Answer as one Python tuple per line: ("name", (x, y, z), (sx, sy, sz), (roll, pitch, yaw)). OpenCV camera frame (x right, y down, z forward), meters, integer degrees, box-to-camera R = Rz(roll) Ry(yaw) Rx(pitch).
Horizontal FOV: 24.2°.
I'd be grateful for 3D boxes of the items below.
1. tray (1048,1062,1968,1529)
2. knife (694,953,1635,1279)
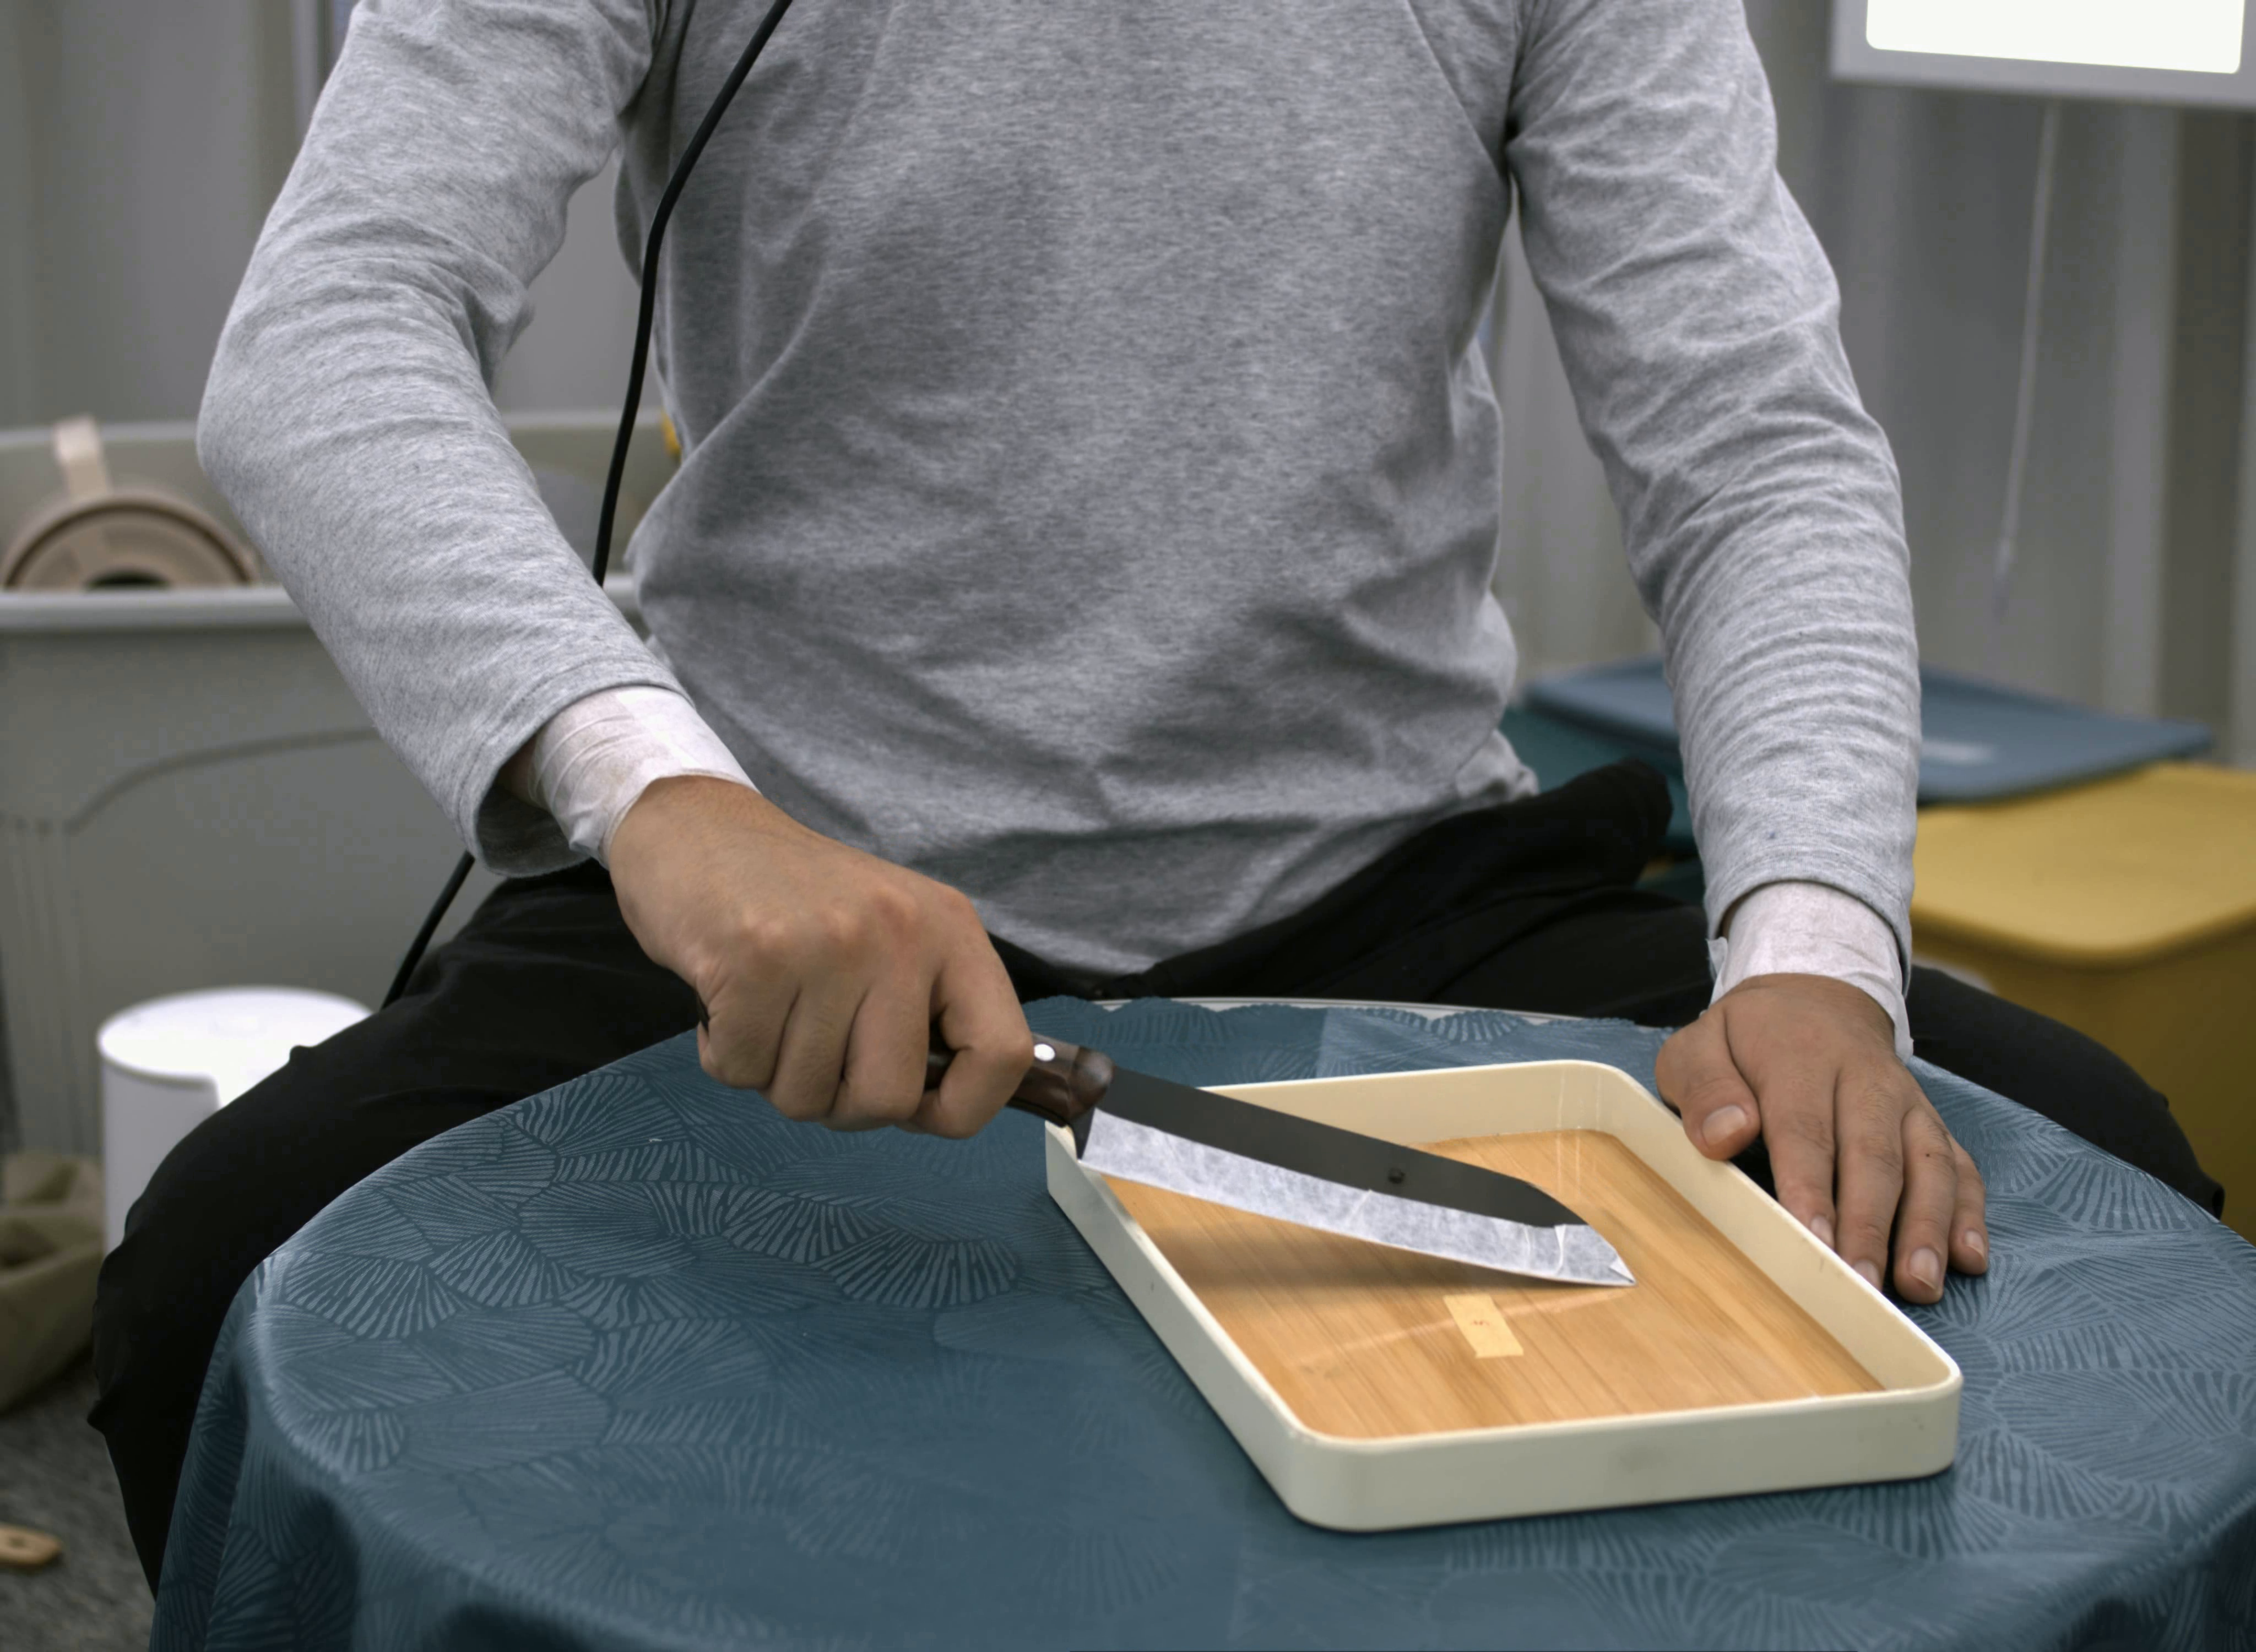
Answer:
("tray", (0.100, 0.129, 1.518), (0.192, 0.027, 0.297), (-3, 16, -14))
("knife", (0.010, 0.087, 1.534), (0.288, 0.020, 0.050), (17, 44, -2))
